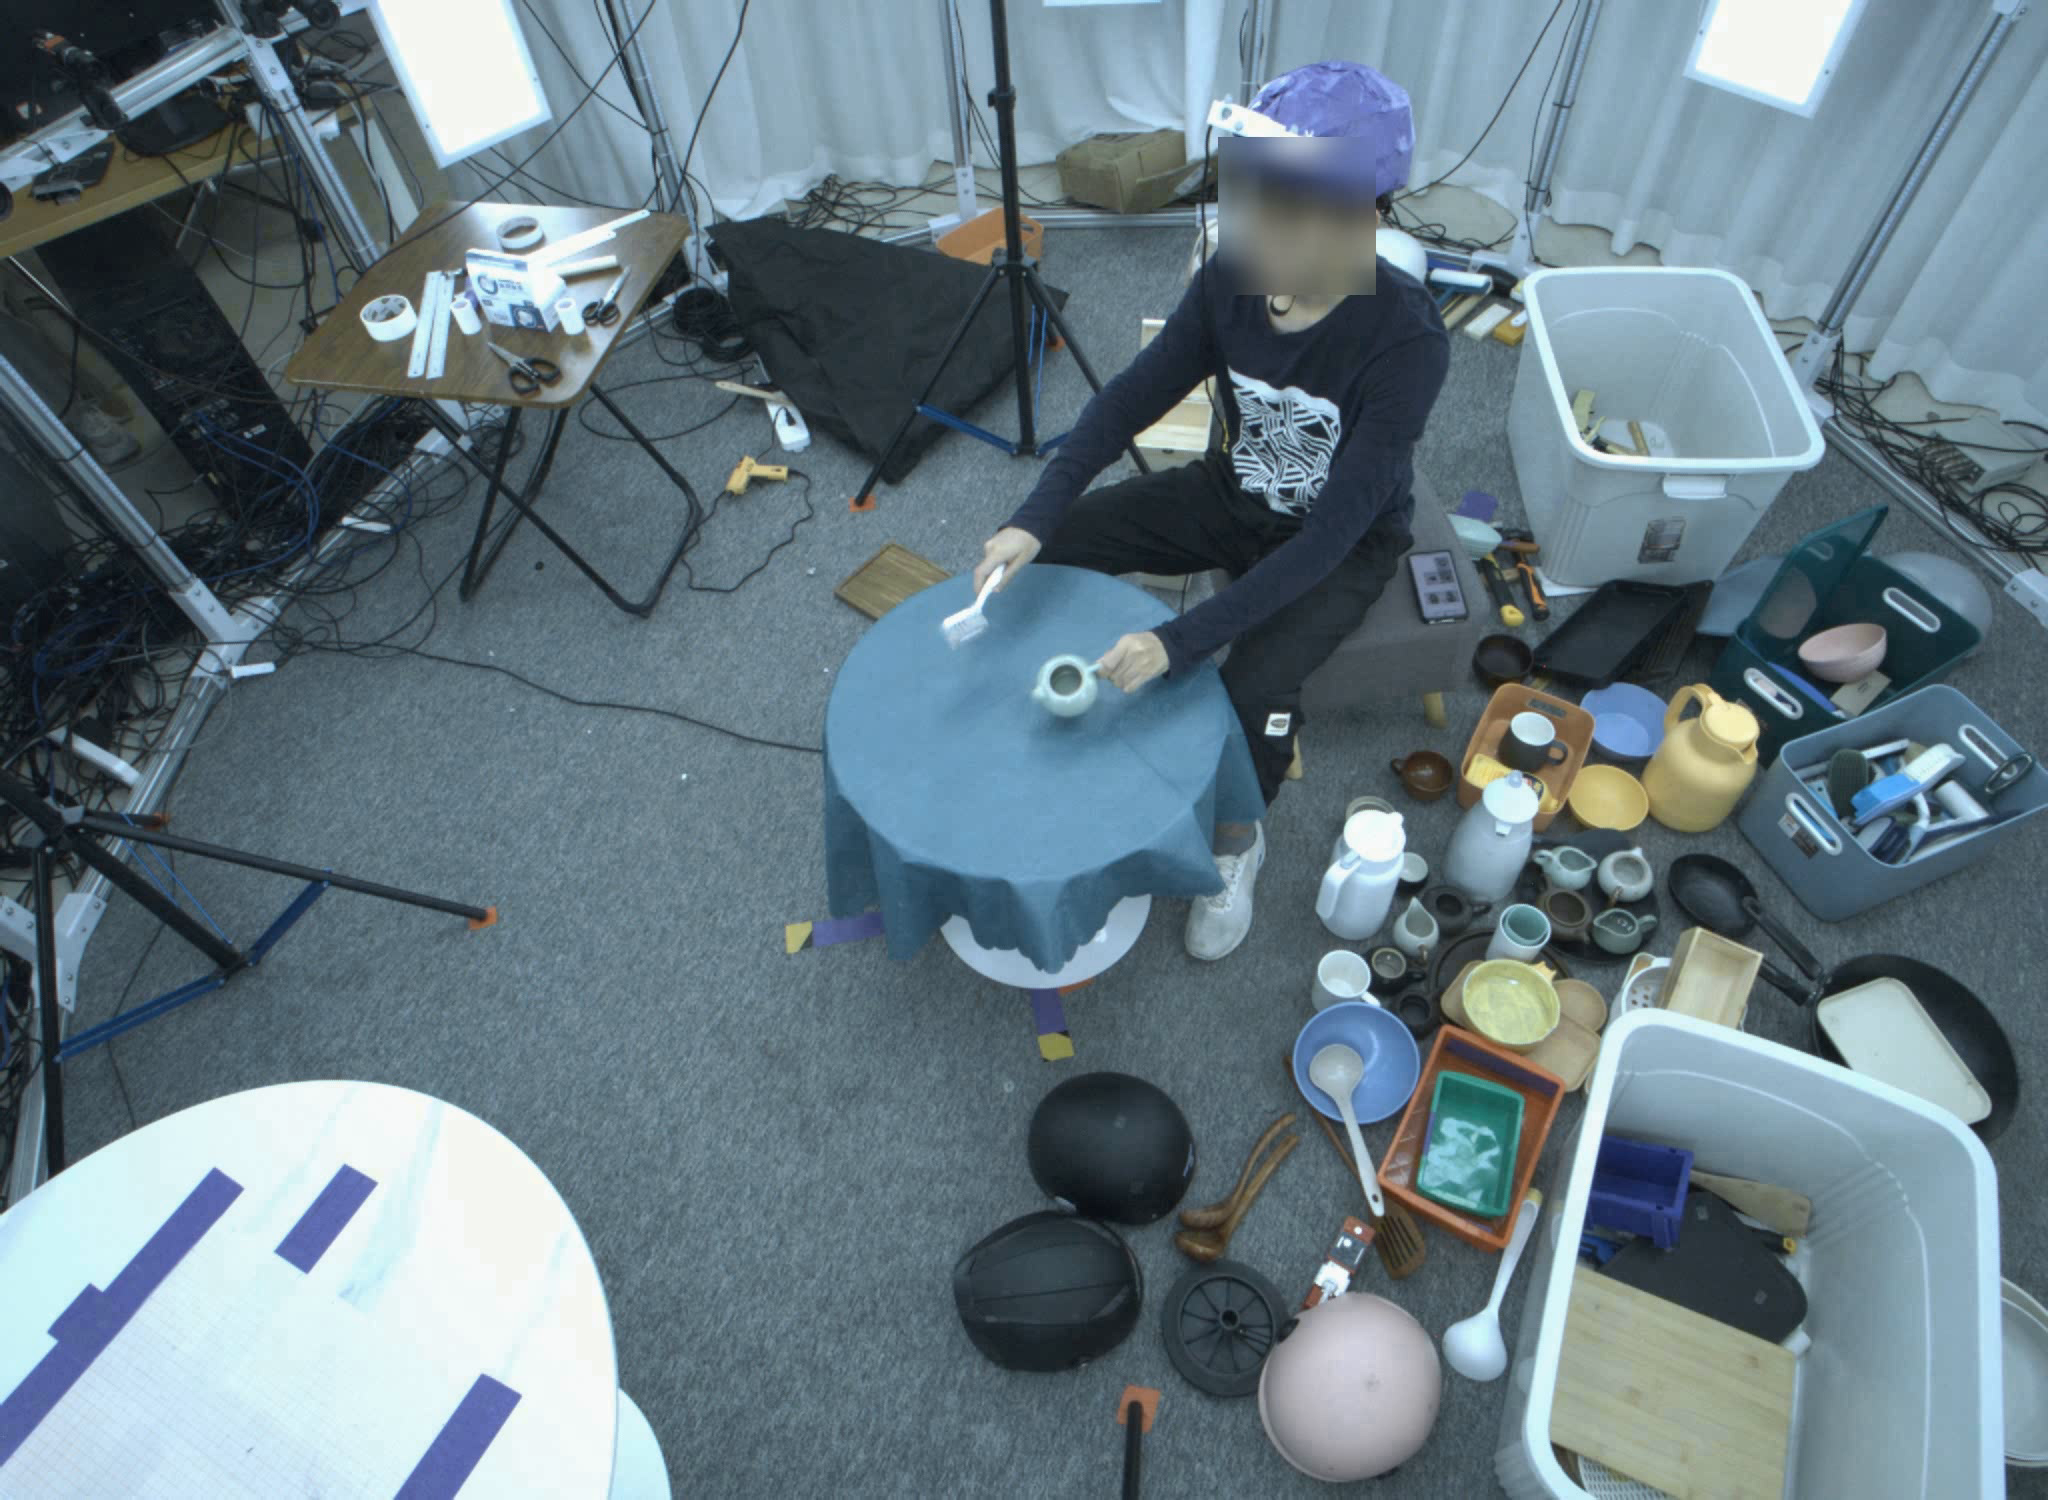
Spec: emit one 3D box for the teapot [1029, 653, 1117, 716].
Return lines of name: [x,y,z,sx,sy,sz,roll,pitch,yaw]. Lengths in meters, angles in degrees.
teapot: [0.072,-0.097,1.766,0.128,0.061,0.090,-19,71,3]

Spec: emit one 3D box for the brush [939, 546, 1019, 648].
brush: [-0.051,-0.231,1.837,0.050,0.034,0.244,33,48,5]
